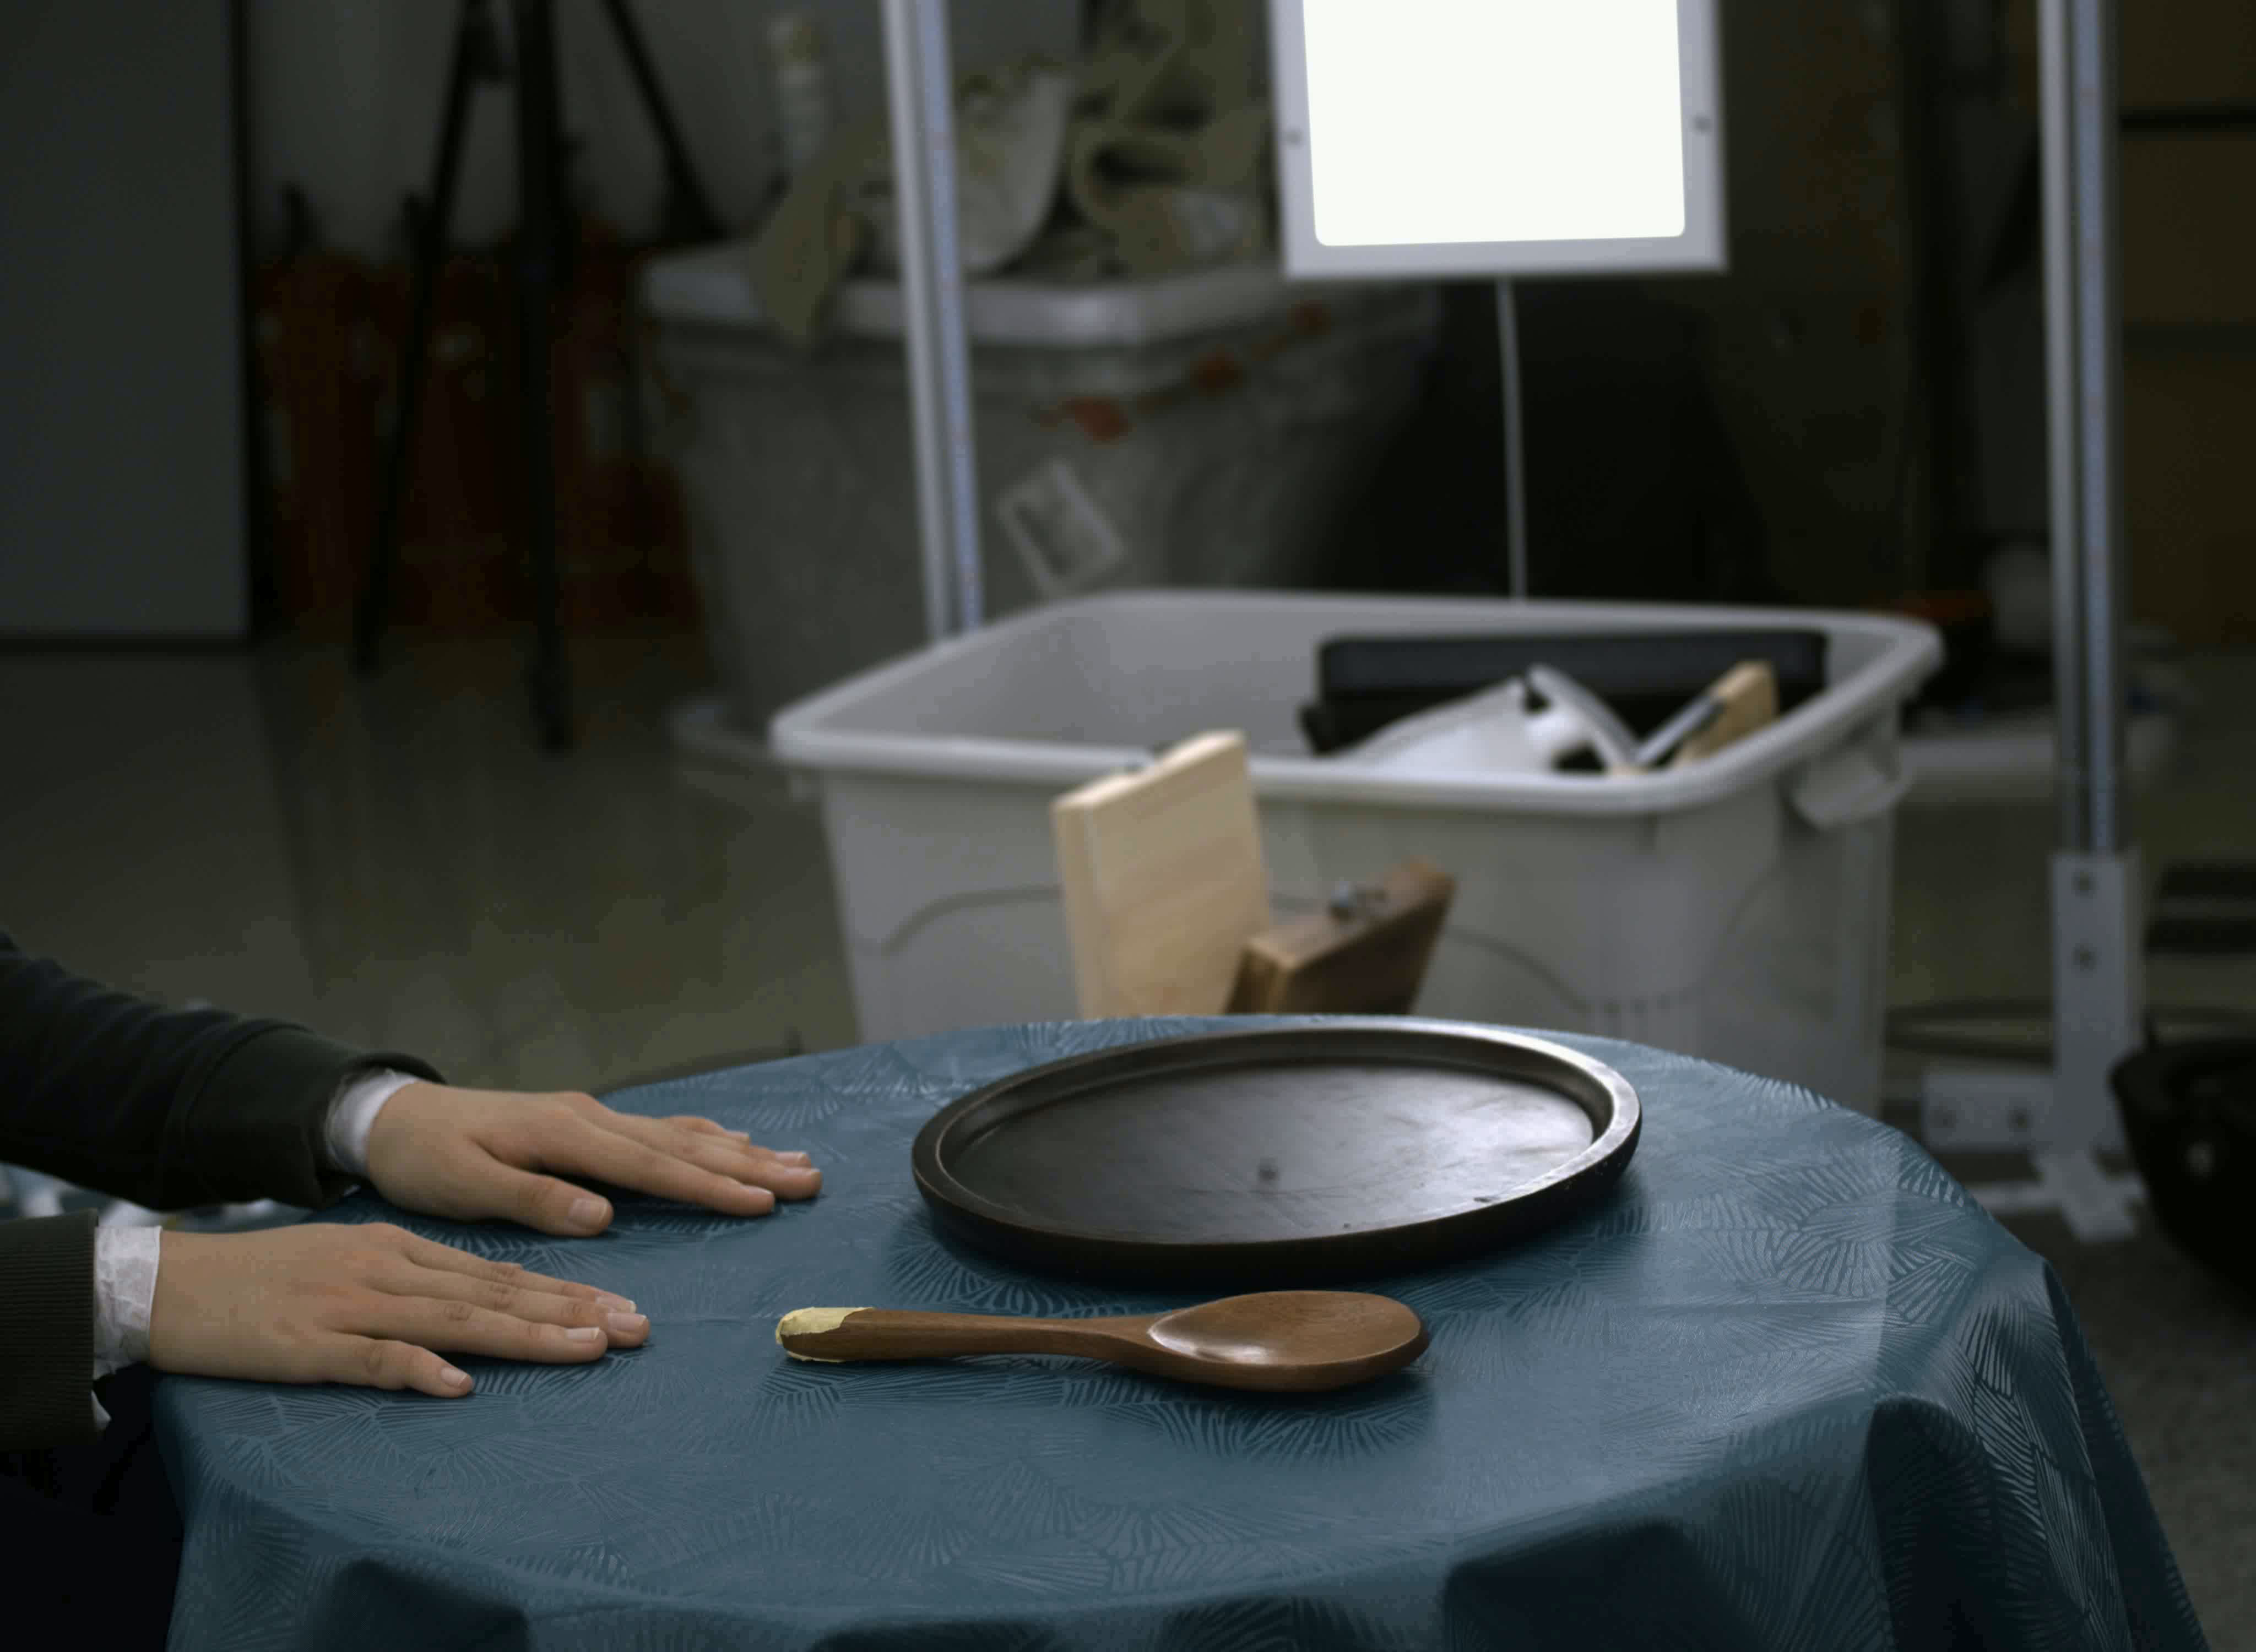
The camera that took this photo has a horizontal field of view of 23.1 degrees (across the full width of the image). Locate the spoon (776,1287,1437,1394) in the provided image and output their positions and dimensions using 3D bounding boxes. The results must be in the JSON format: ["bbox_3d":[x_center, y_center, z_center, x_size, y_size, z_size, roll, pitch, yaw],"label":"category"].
[{"bbox_3d":[-0.008,0.161,1.724,0.218,0.017,0.074,0,15,20],"label":"spoon"}]

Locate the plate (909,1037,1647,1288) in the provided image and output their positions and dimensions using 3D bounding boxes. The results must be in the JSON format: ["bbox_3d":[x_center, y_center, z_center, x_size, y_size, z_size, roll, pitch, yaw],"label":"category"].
[{"bbox_3d":[0.052,0.113,1.890,0.254,0.029,0.254,-4,13,-1],"label":"plate"}]
